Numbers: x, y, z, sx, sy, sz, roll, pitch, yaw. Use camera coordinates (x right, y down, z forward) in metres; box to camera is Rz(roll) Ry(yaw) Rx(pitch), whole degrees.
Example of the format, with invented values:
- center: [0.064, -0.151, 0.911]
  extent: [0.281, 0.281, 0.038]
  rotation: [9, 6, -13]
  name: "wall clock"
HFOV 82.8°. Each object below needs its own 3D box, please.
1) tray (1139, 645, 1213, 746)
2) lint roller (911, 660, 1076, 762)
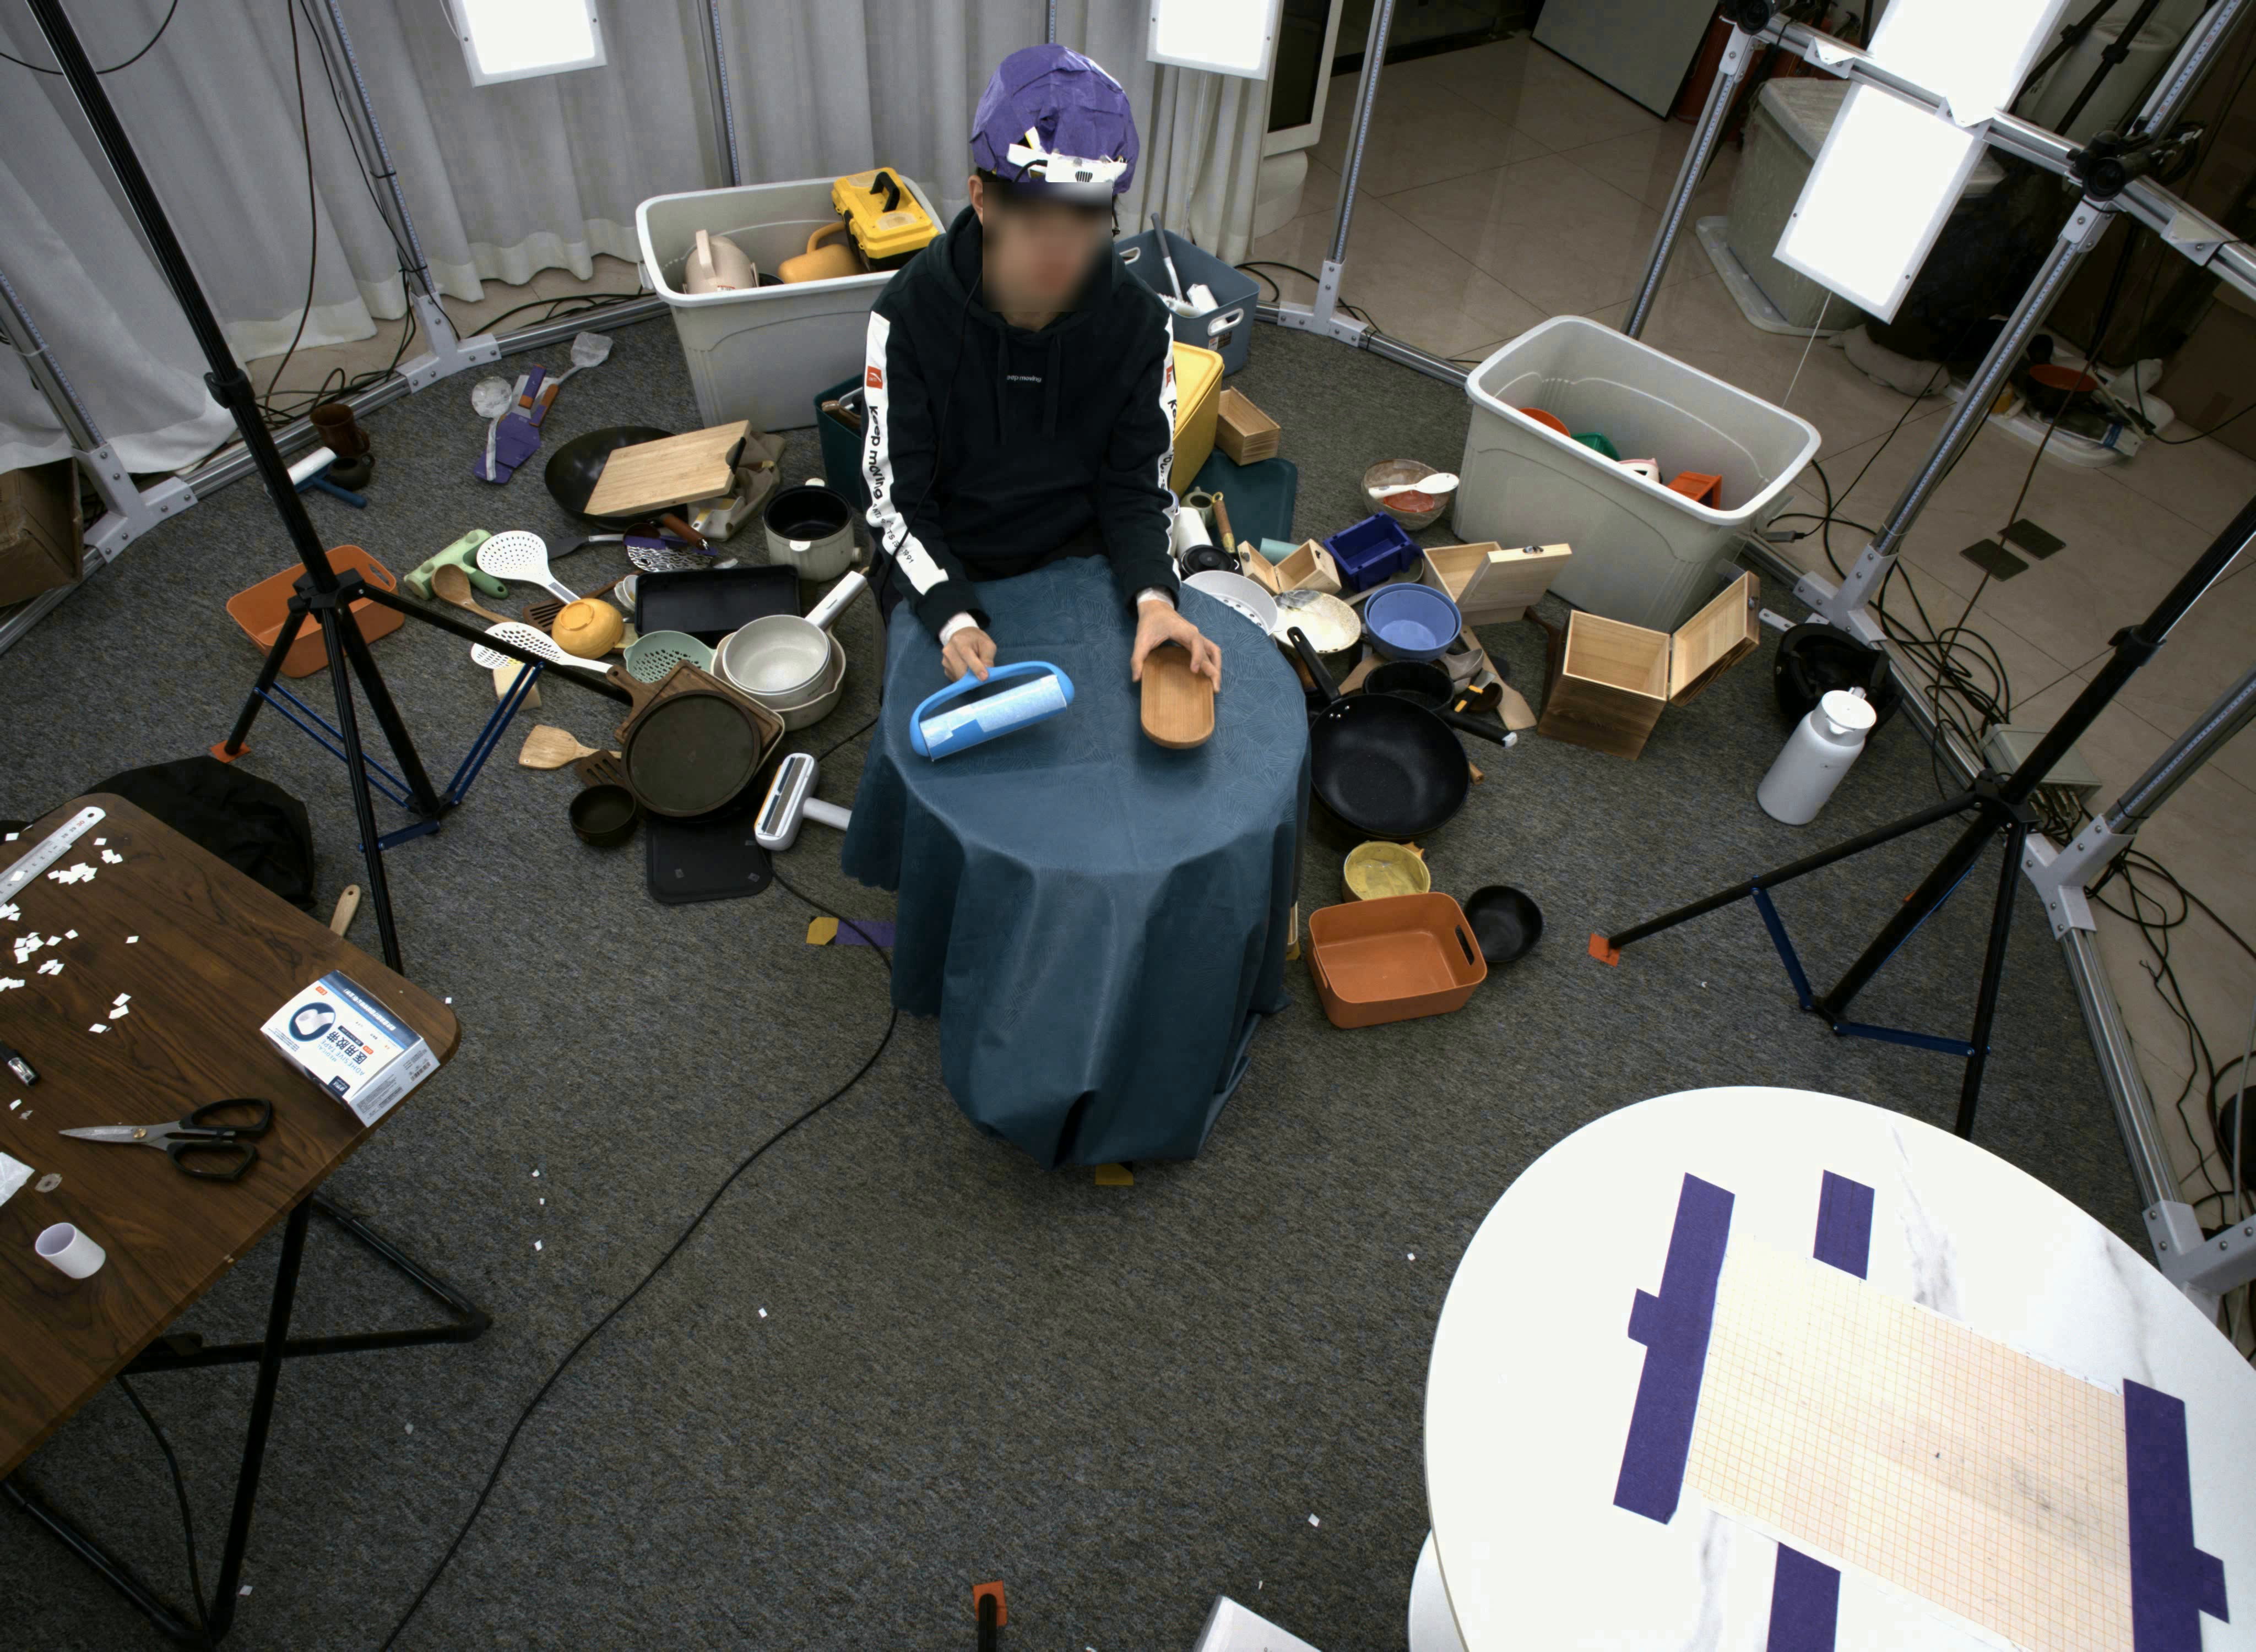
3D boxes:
- center: [0.066, -0.185, 1.788]
  extent: [0.101, 0.020, 0.237]
  rotation: [5, 38, -3]
  name: "tray"
- center: [-0.200, -0.185, 1.758]
  extent: [0.229, 0.066, 0.184]
  rotation: [-24, 47, -6]
  name: "lint roller"
